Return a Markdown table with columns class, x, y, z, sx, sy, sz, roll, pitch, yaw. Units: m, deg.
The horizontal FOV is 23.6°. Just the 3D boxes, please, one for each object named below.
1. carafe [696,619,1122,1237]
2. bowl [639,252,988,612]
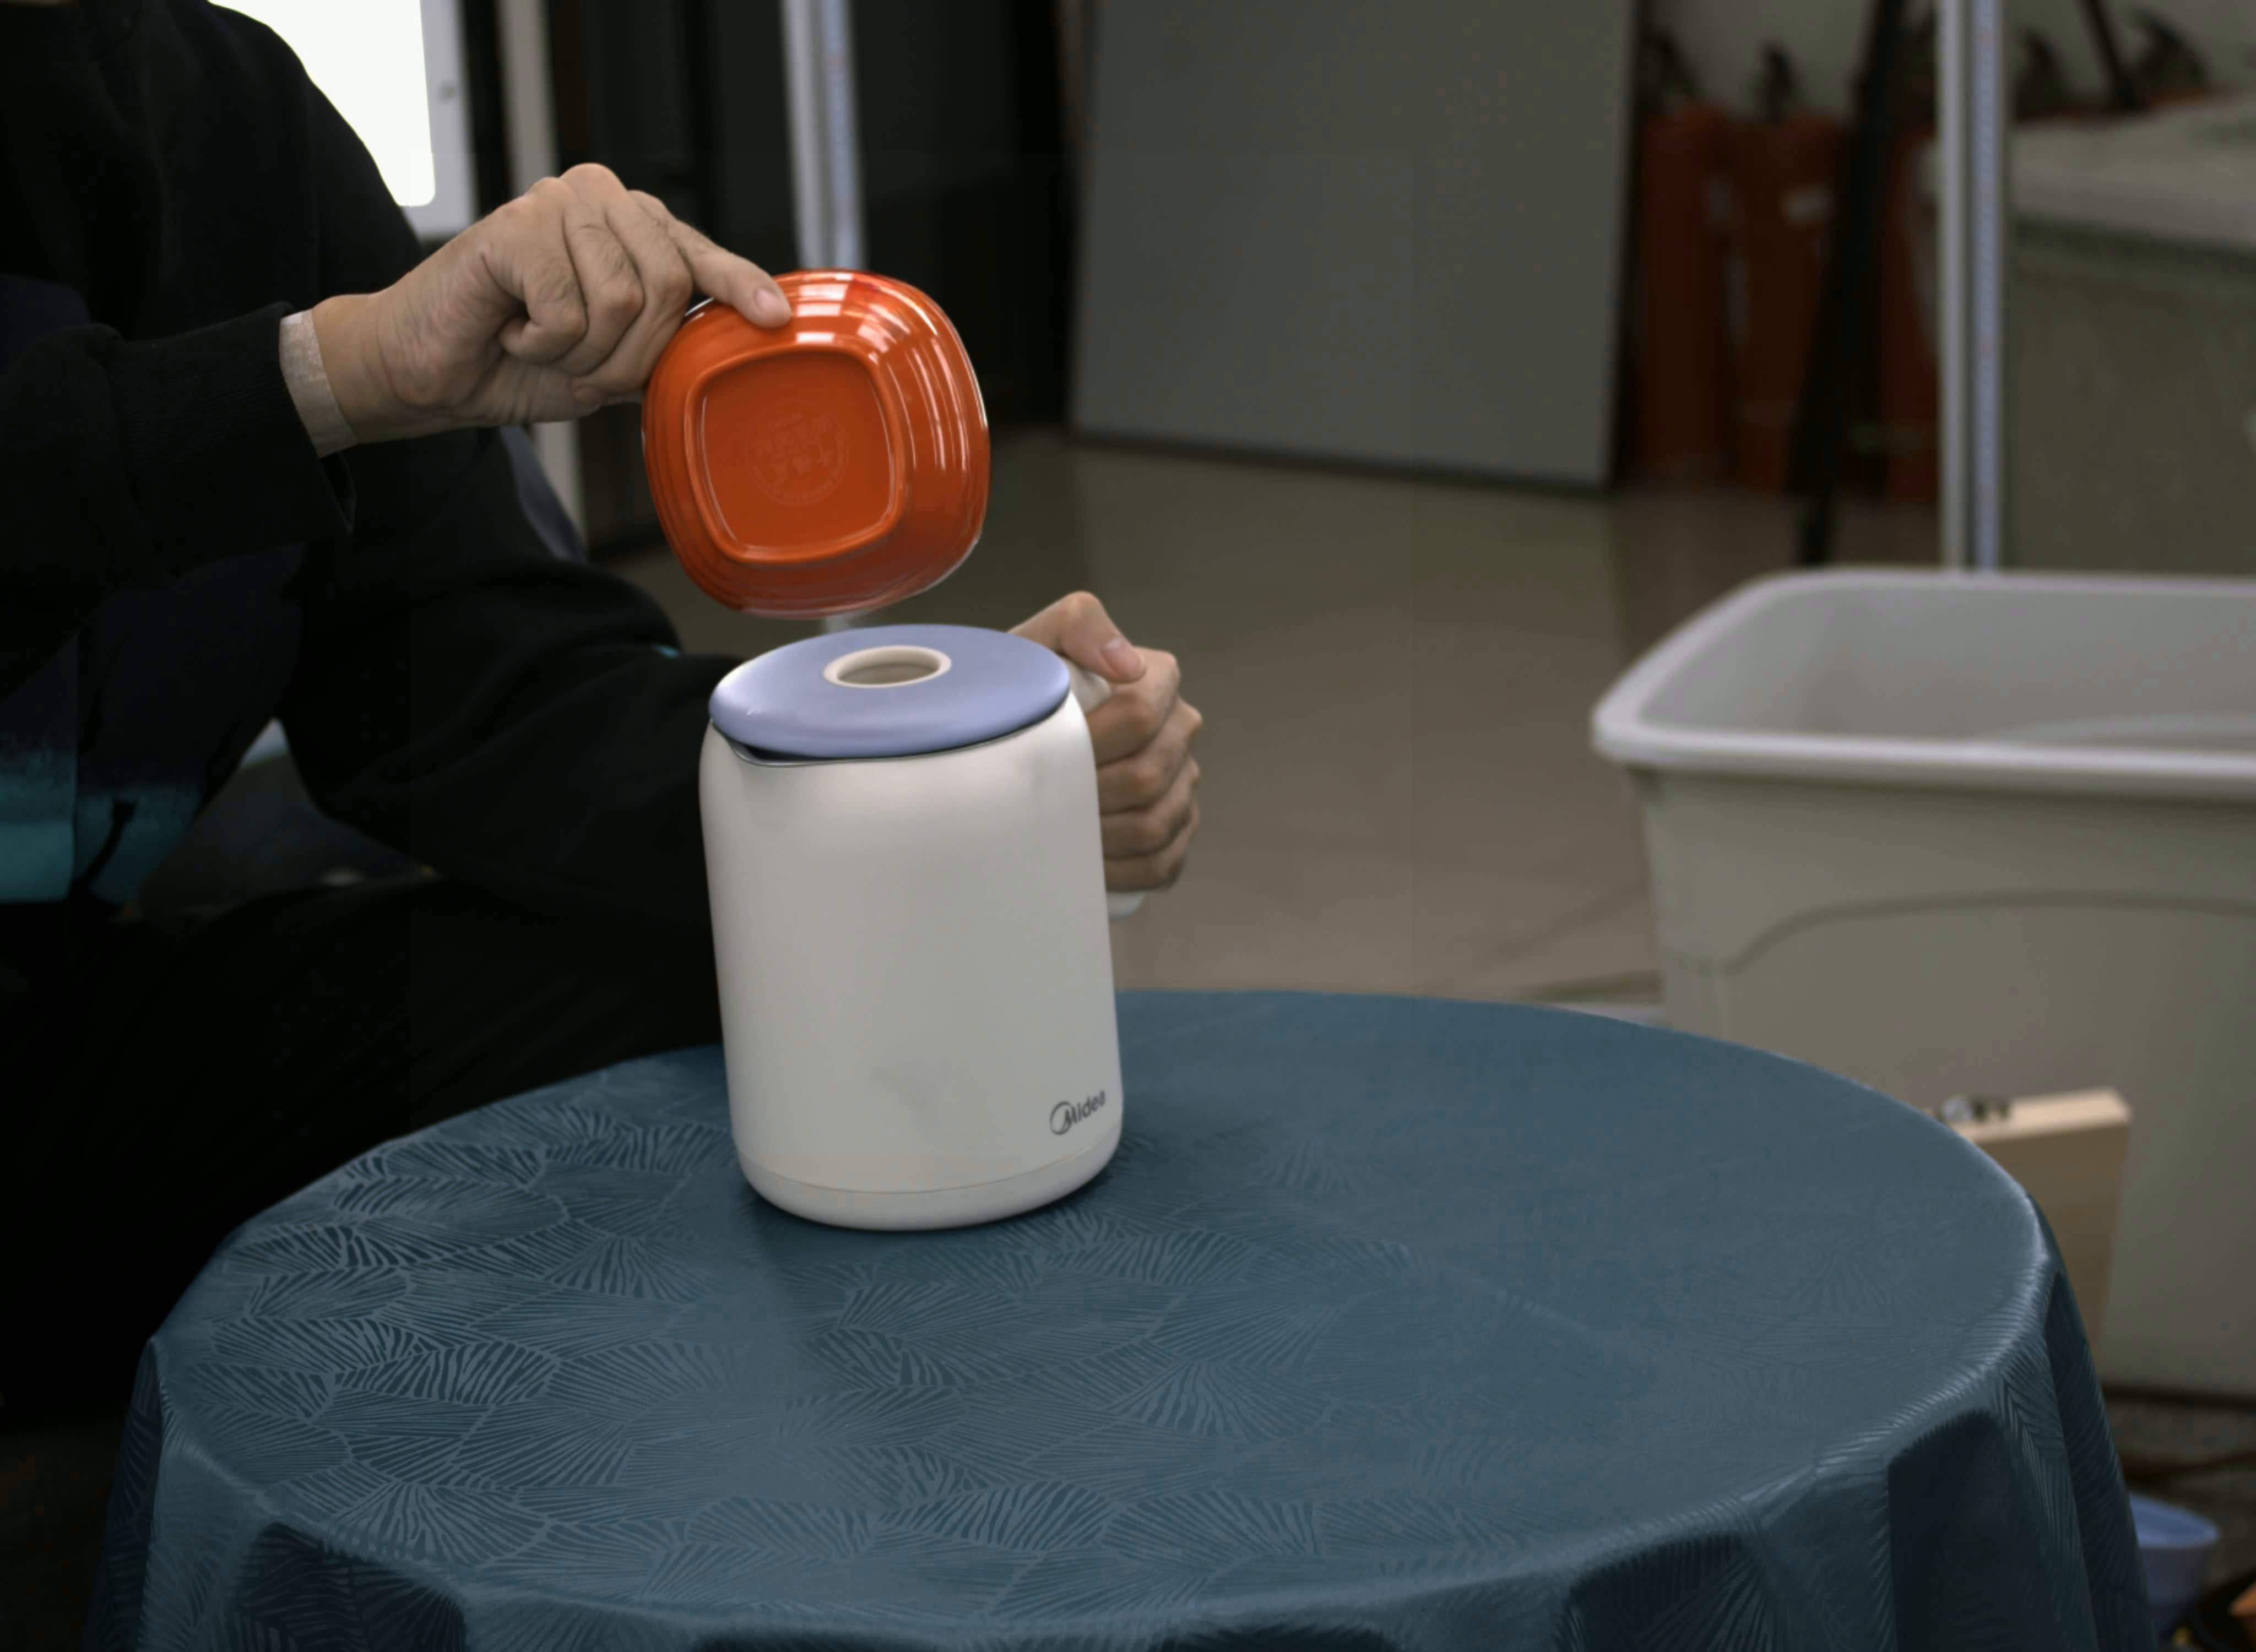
| class | x | y | z | sx | sy | sz | roll | pitch | yaw |
| --- | --- | --- | --- | --- | --- | --- | --- | --- | --- |
| carafe | -0.059 | 0.026 | 1.791 | 0.133 | 0.184 | 0.188 | 10 | 21 | 34 |
| bowl | -0.102 | -0.120 | 1.678 | 0.118 | 0.120 | 0.051 | -1 | 8 | 10 |
